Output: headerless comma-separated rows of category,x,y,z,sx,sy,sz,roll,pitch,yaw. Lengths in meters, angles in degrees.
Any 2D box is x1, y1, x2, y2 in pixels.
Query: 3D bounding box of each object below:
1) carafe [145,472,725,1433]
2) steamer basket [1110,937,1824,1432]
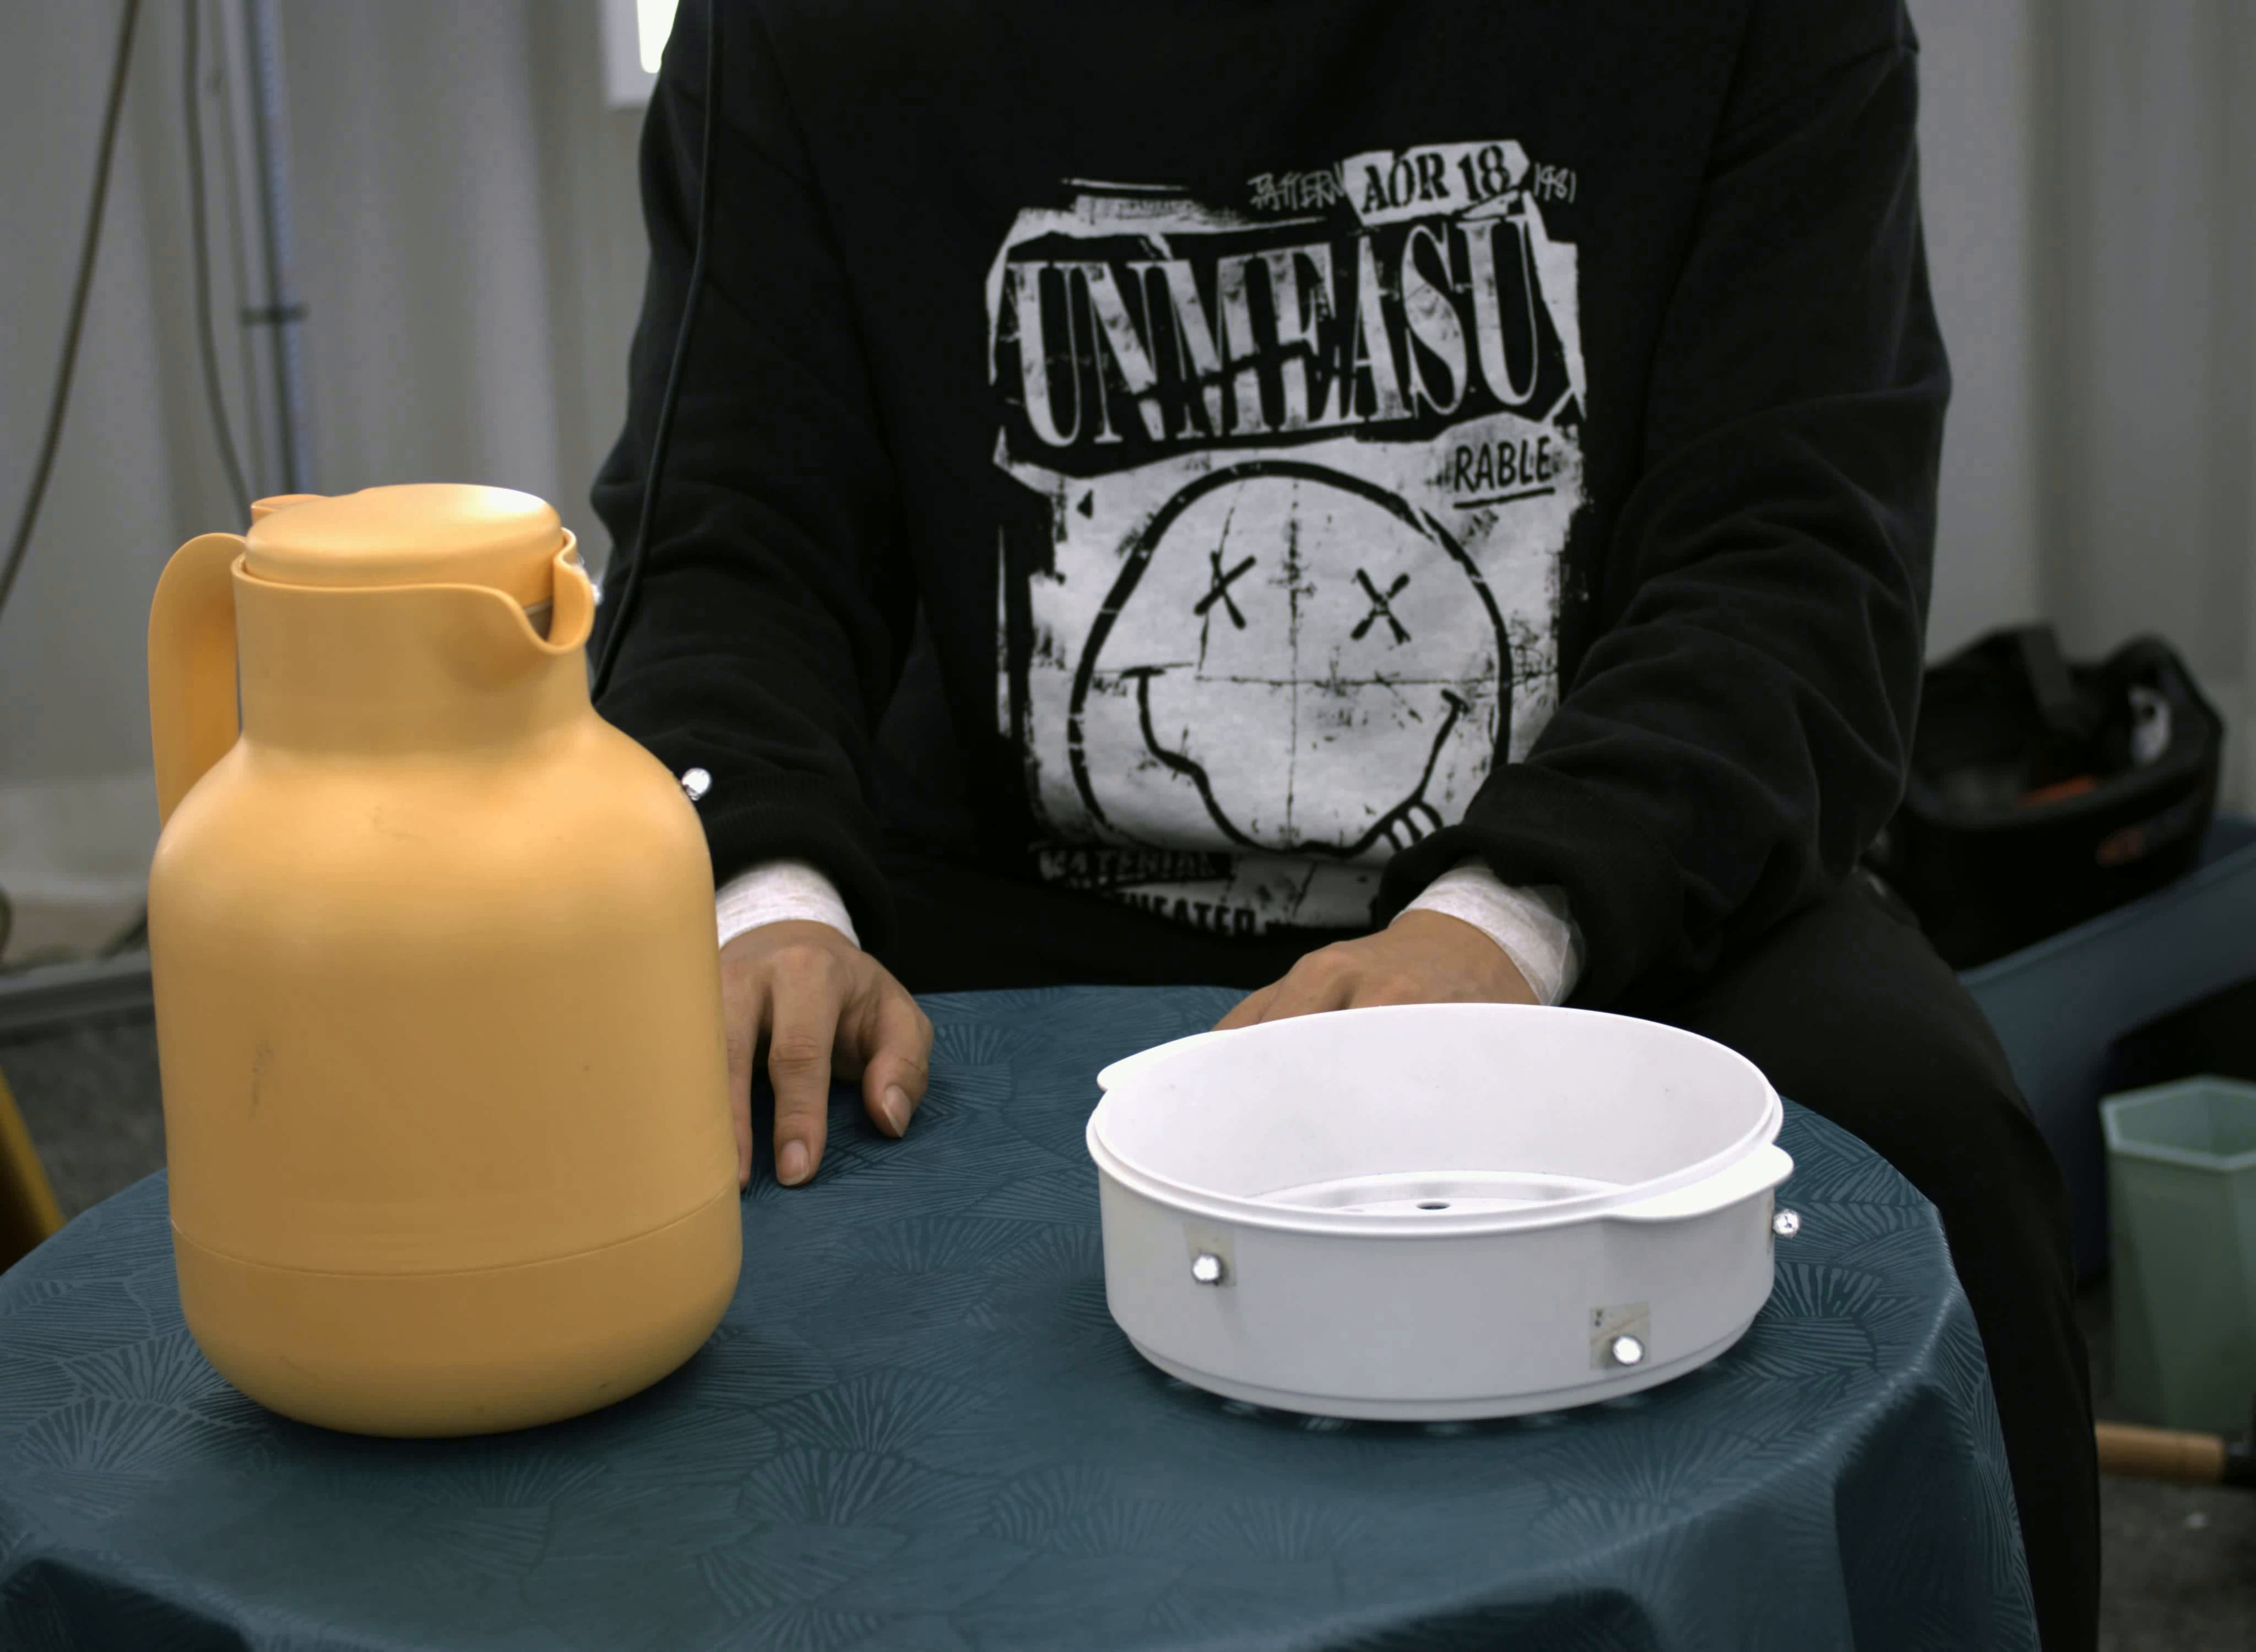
carafe,-0.209,0.028,1.572,0.163,0.259,0.204,-10,17,-39
steamer basket,0.094,0.103,1.572,0.232,0.069,0.202,22,31,39
